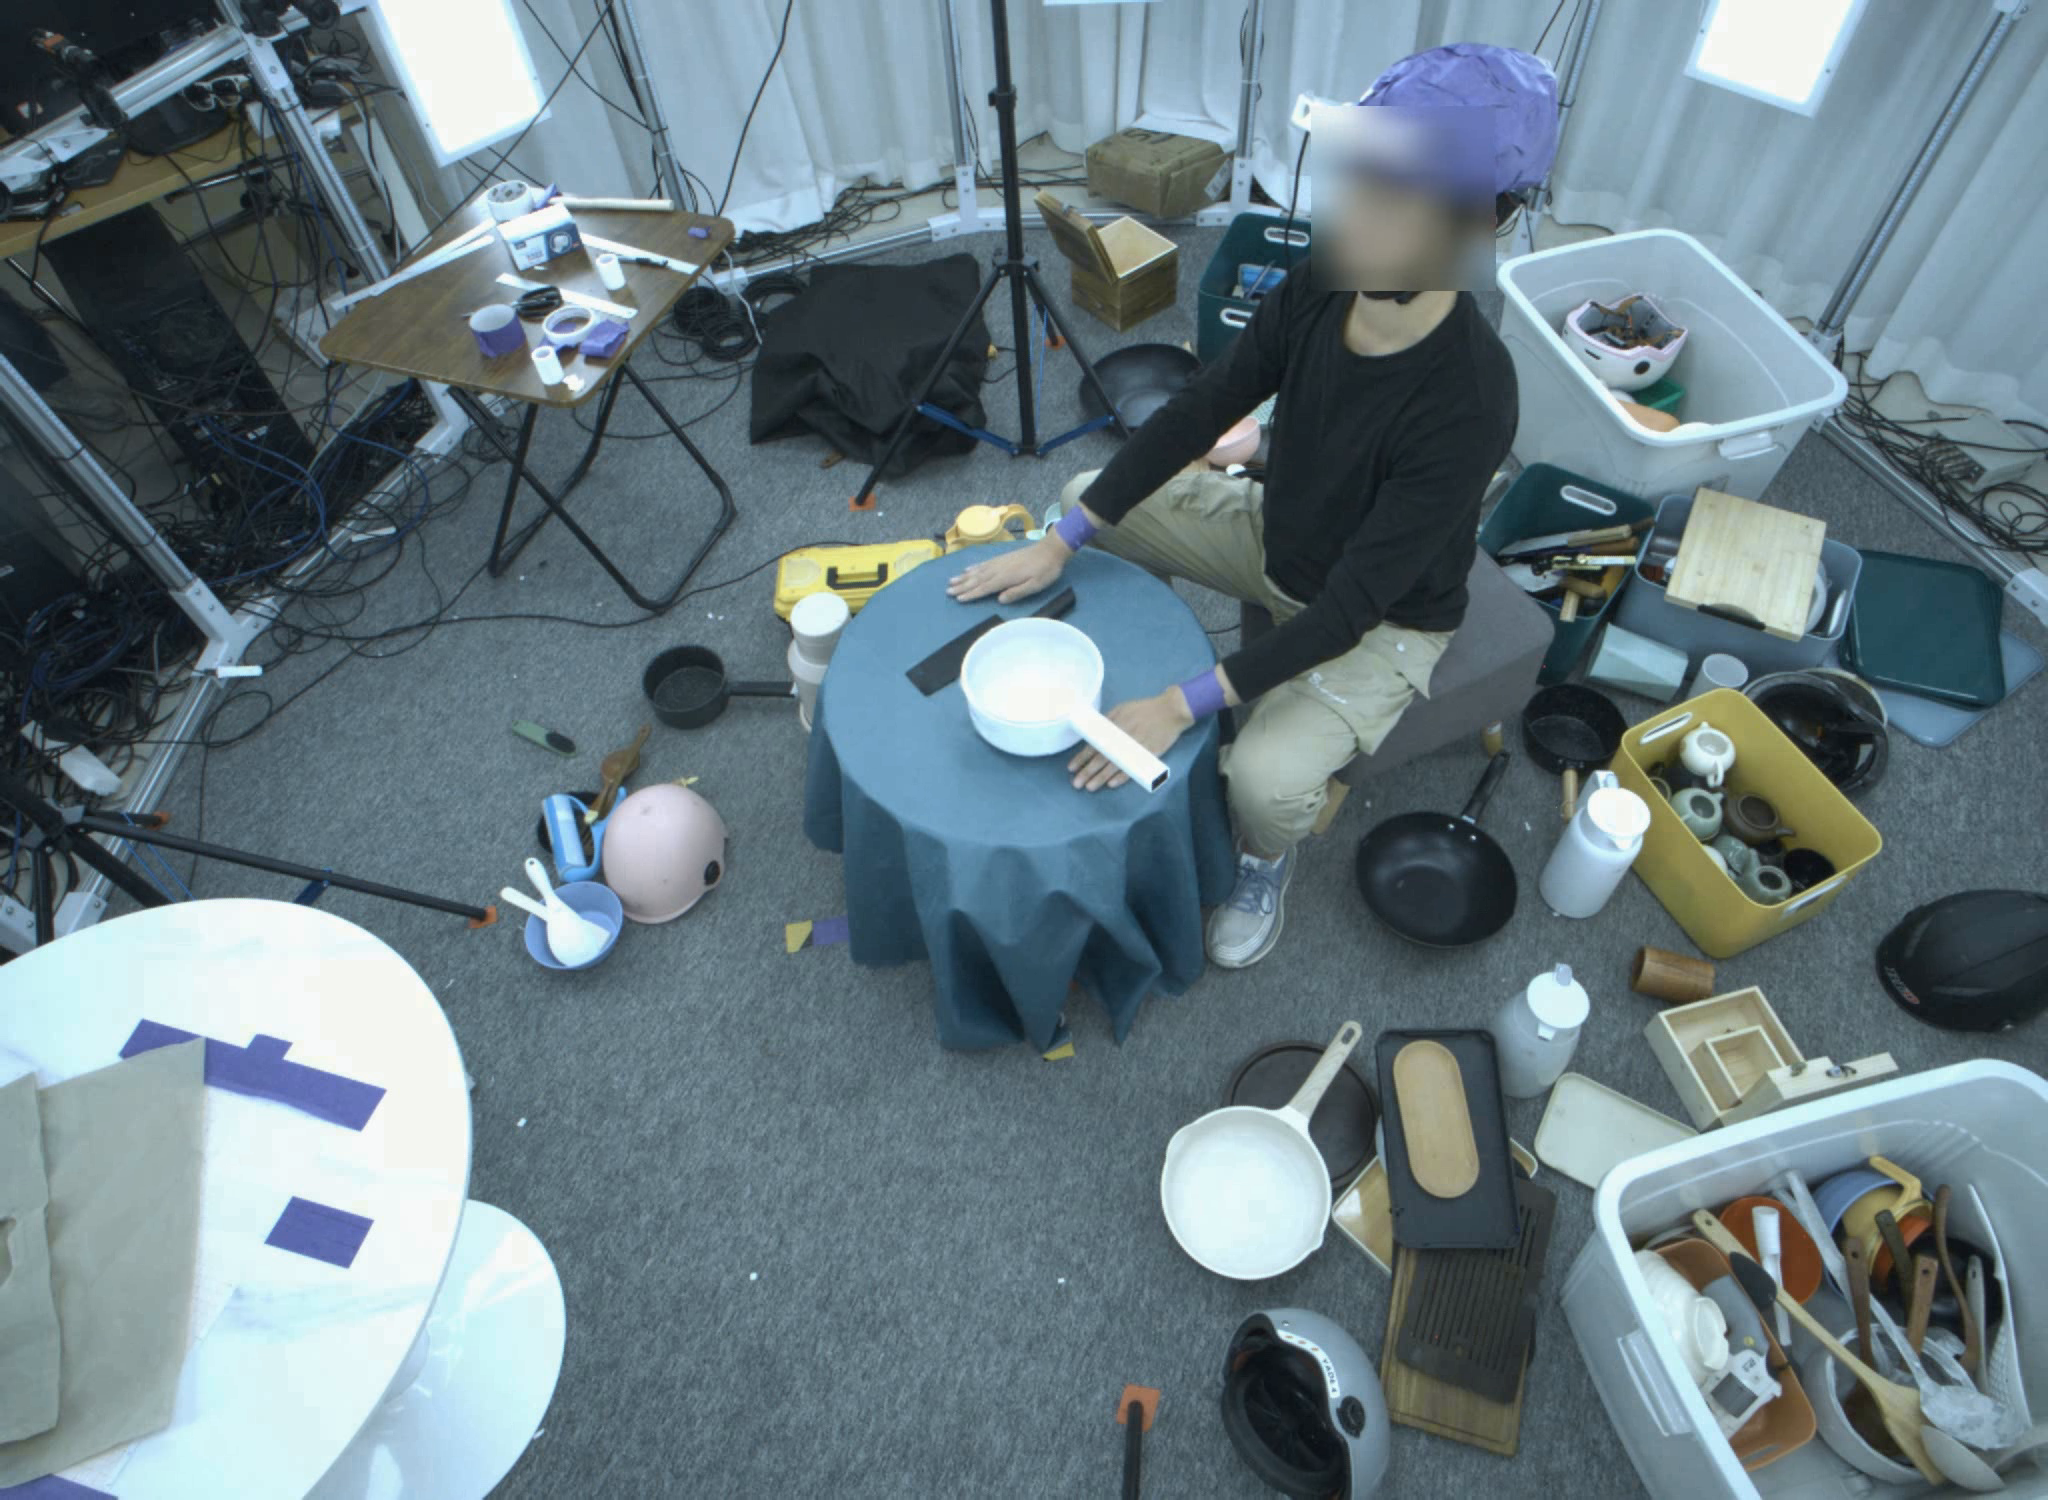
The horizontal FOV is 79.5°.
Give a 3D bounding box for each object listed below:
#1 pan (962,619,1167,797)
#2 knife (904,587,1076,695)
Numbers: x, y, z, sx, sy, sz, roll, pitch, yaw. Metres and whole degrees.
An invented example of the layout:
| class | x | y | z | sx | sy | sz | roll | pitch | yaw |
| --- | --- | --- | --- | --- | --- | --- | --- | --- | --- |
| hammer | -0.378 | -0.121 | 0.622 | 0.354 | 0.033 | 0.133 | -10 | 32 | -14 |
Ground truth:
| class | x | y | z | sx | sy | sz | roll | pitch | yaw |
| --- | --- | --- | --- | --- | --- | --- | --- | --- | --- |
| pan | 0.065 | -0.039 | 1.750 | 0.203 | 0.103 | 0.348 | -37 | 62 | -22 |
| knife | -0.047 | -0.176 | 1.902 | 0.304 | 0.021 | 0.079 | -30 | 58 | -16 |
